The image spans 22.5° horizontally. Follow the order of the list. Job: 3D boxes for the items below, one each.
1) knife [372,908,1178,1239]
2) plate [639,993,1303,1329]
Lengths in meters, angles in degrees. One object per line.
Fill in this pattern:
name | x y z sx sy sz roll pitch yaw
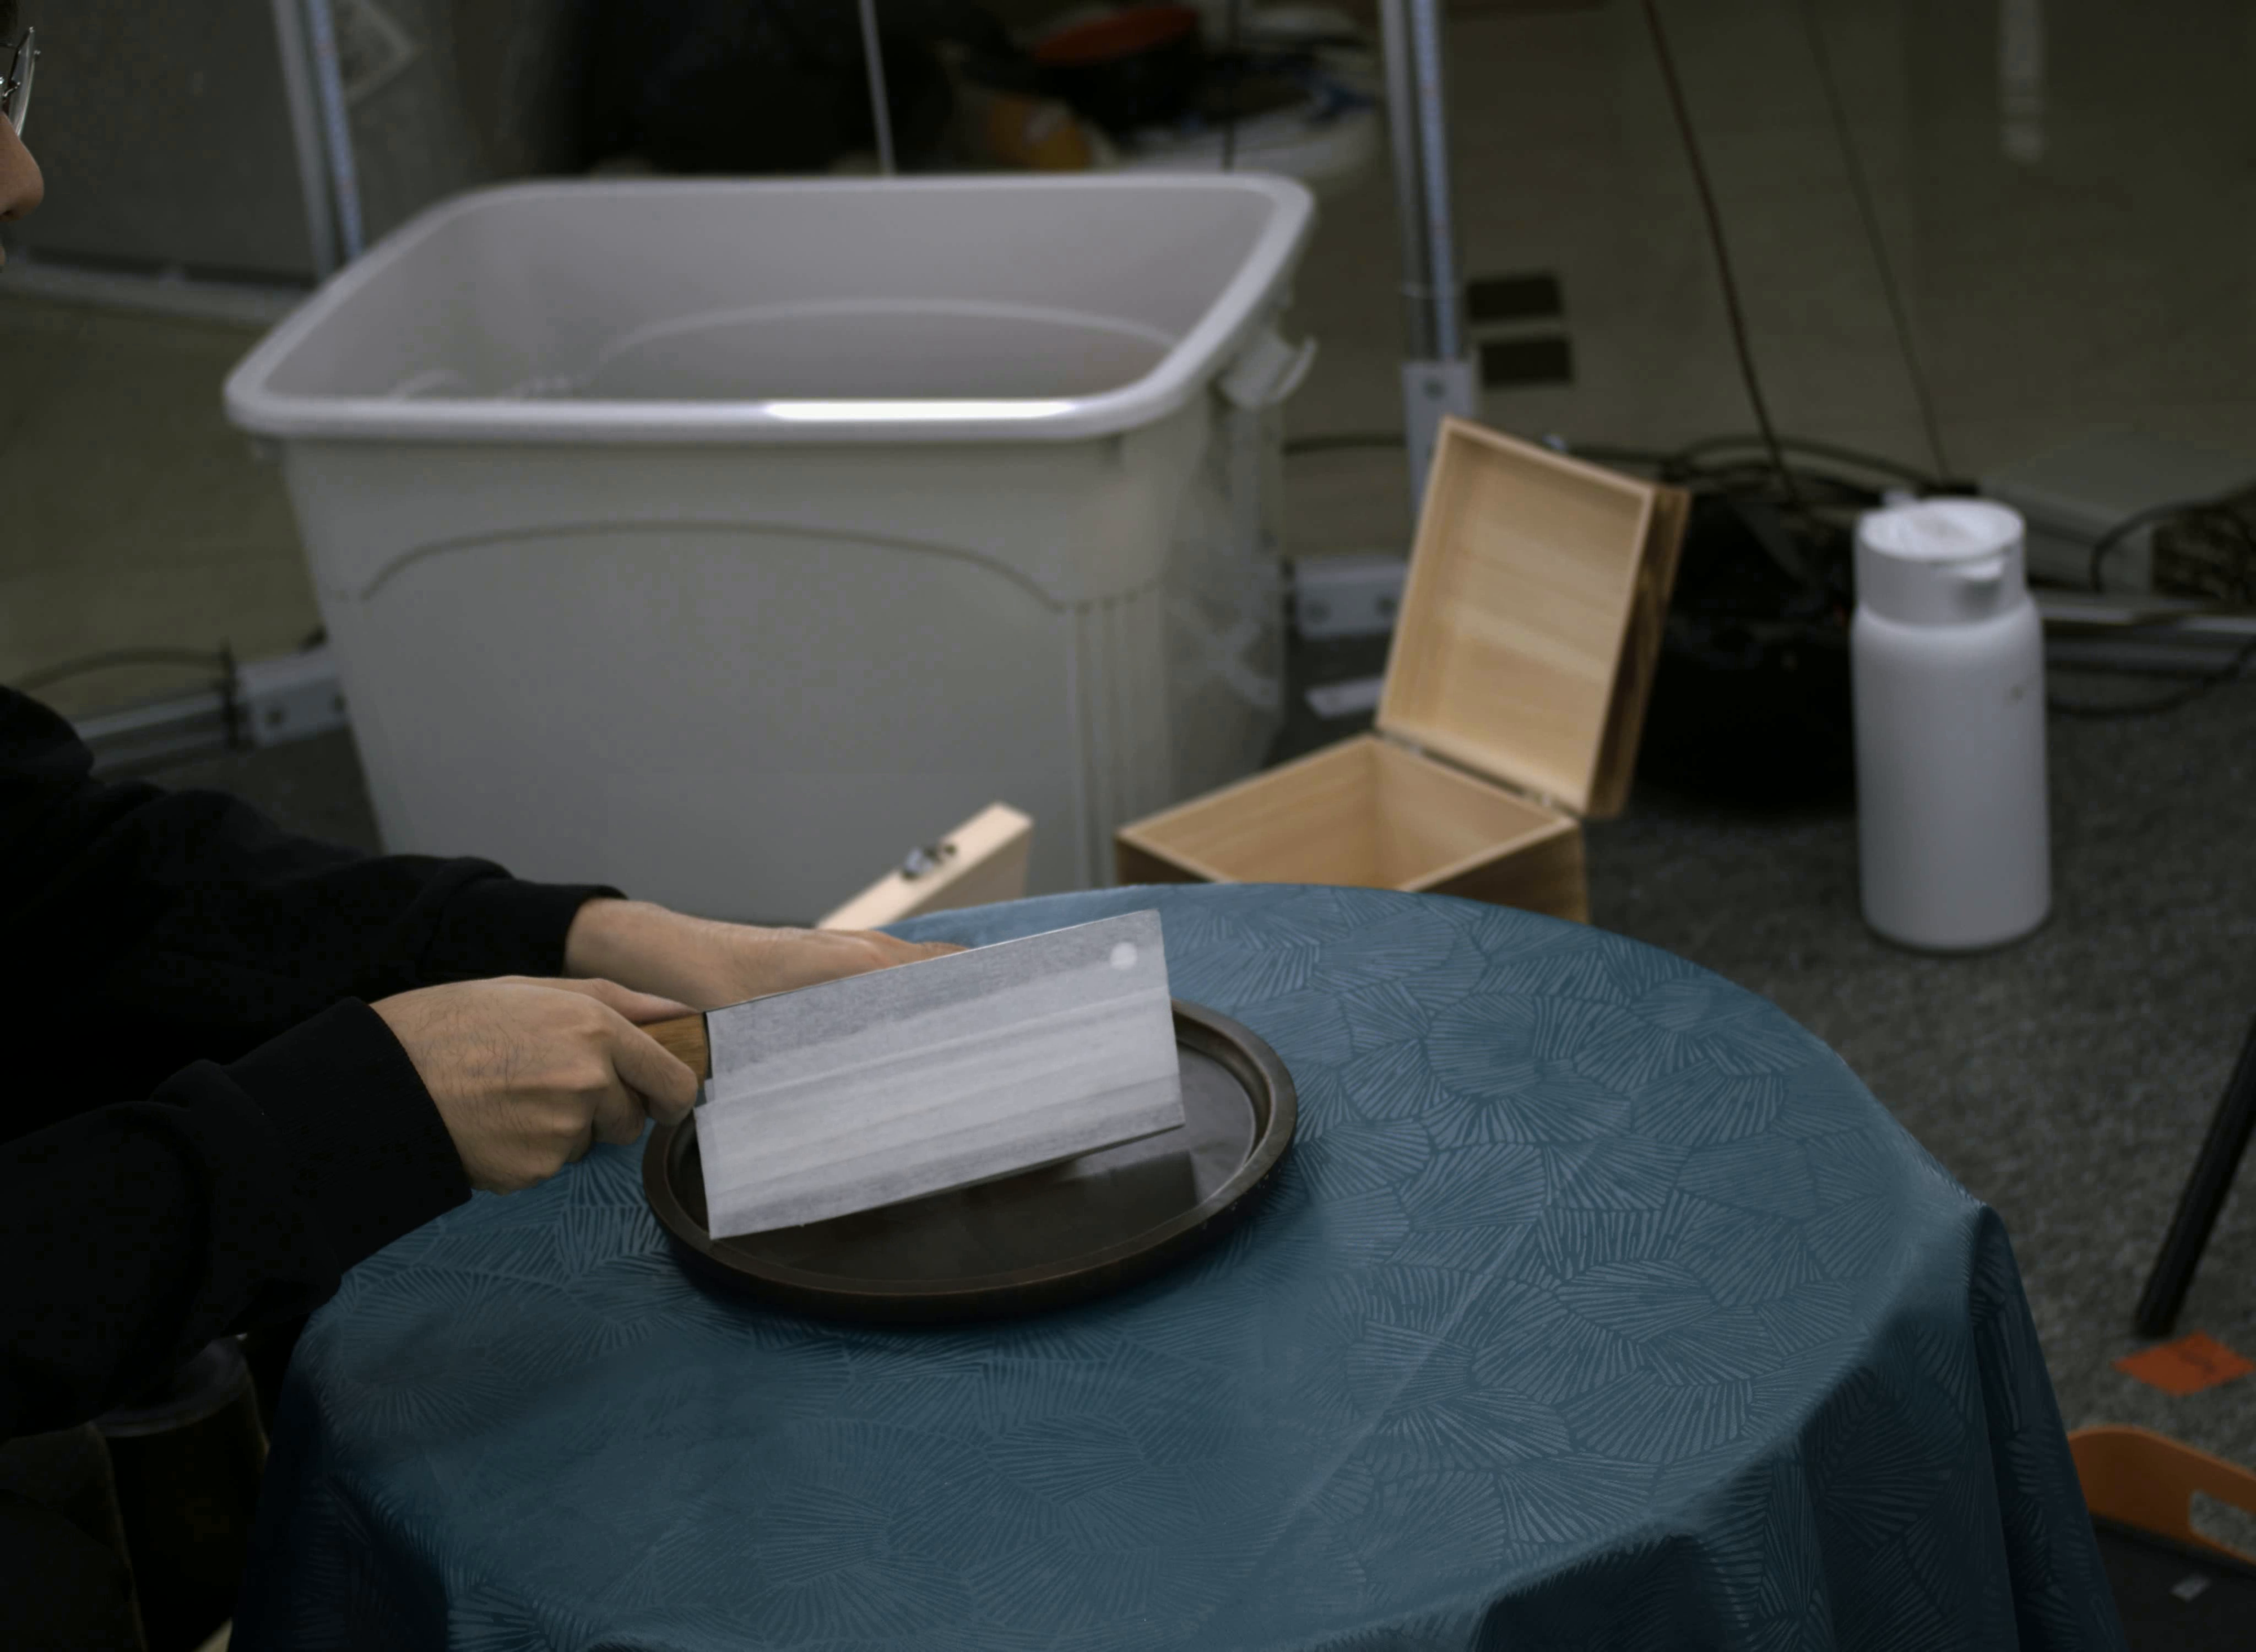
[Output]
knife | -0.125 0.103 2.093 0.305 0.094 0.021 -13 20 -17
plate | -0.059 0.123 2.164 0.254 0.029 0.251 -4 26 2
